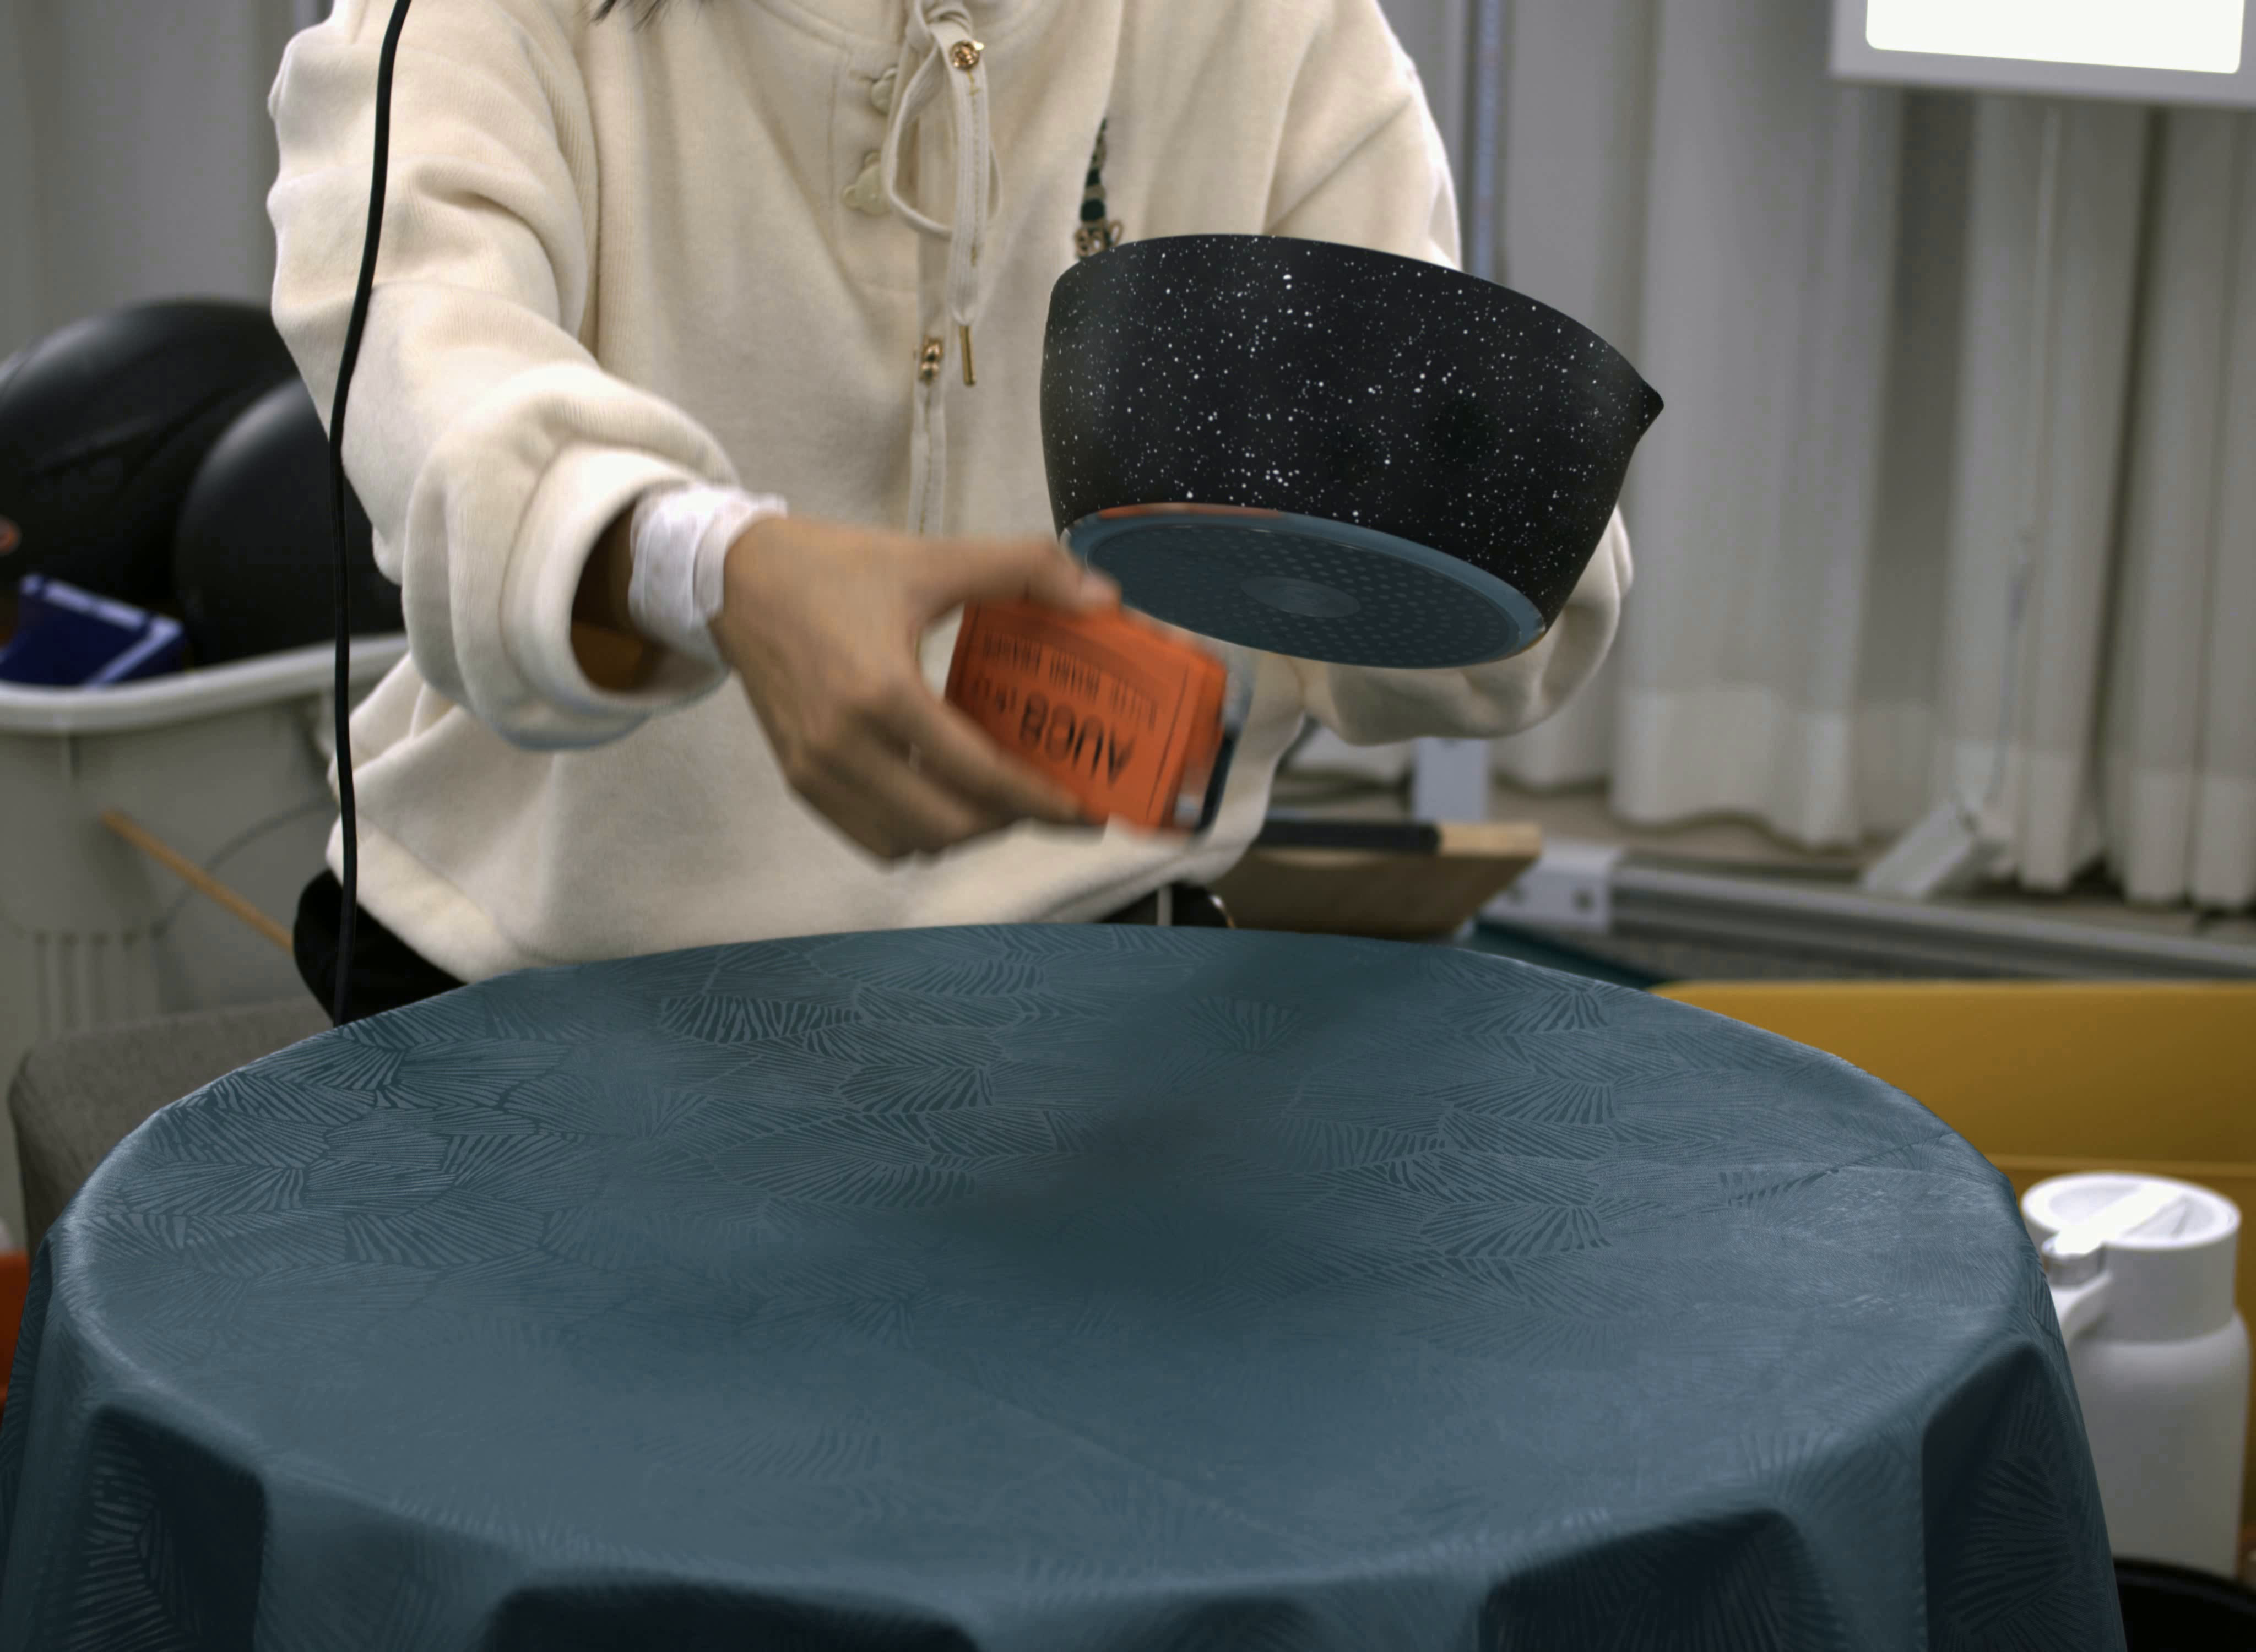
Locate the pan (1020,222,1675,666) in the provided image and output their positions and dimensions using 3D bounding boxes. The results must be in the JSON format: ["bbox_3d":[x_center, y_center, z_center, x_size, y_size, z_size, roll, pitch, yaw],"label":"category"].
[{"bbox_3d":[0.064,-0.103,1.709,0.206,0.108,0.344,10,-12,3],"label":"pan"}]

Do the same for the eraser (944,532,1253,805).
[{"bbox_3d":[-0.010,-0.047,1.564,0.023,0.059,0.106,4,15,-44],"label":"eraser"}]
